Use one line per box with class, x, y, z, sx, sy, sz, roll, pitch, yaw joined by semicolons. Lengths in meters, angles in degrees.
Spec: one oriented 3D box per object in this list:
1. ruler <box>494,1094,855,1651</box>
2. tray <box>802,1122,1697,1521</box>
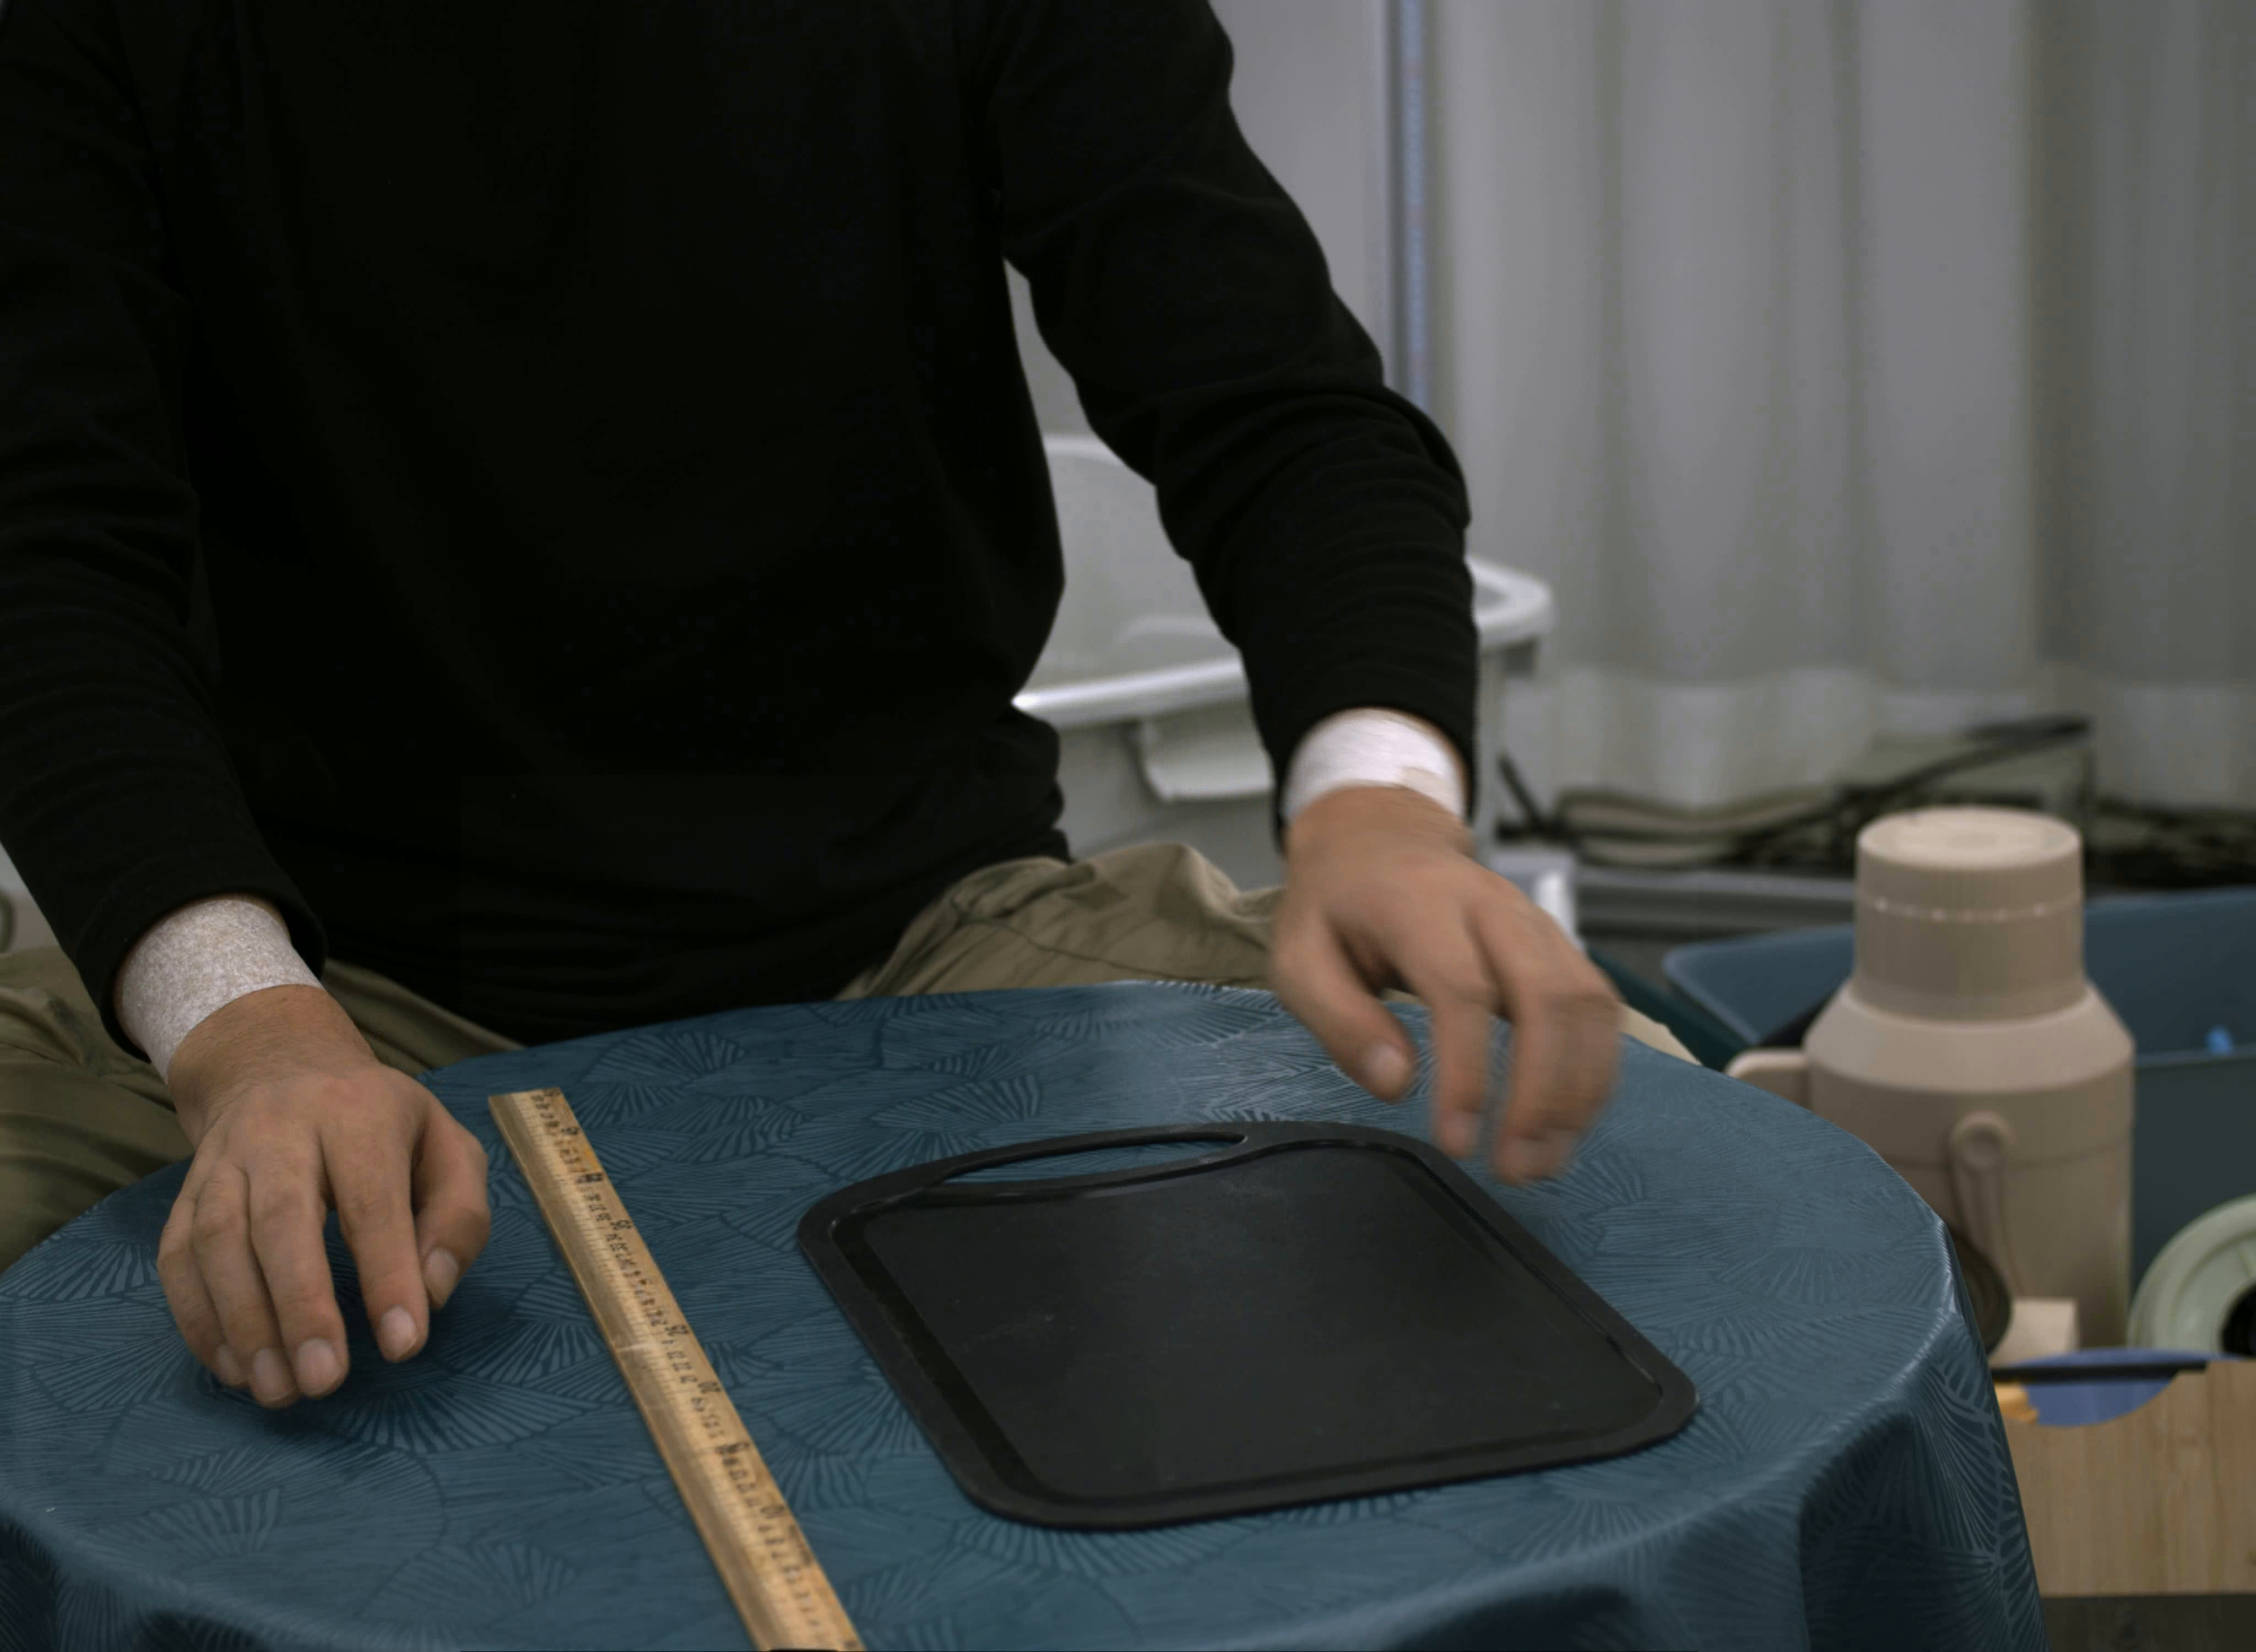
ruler;-0.139;0.151;1.595;0.026;0.006;0.504;-4;14;-13
tray;0.025;0.138;1.608;0.210;0.010;0.328;-6;15;-13
